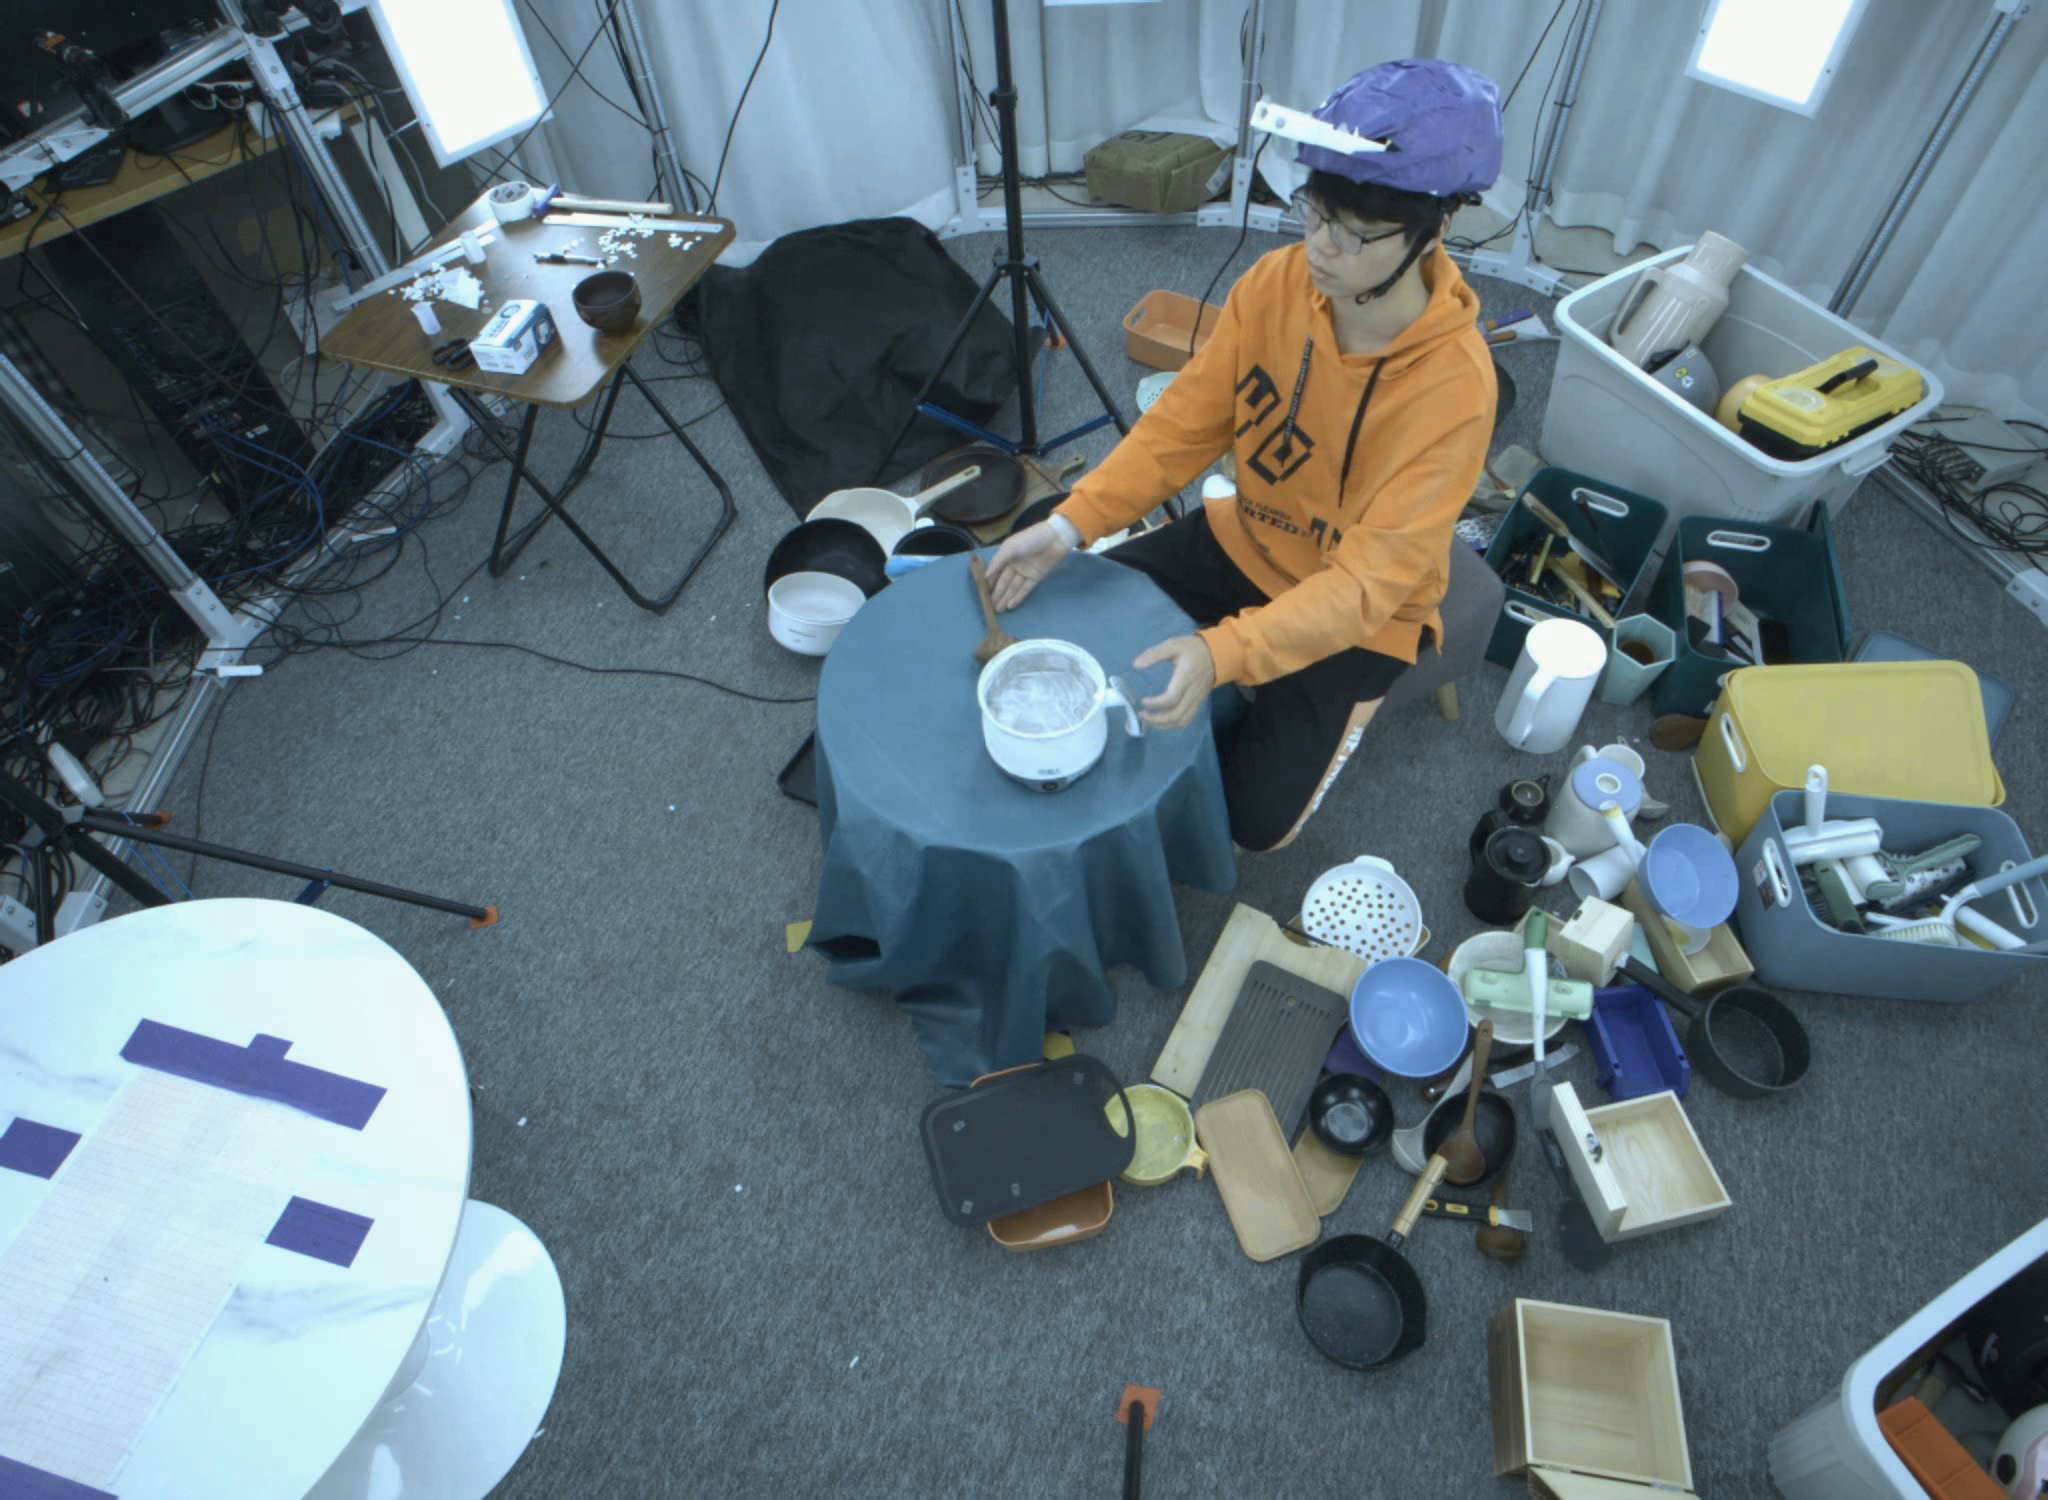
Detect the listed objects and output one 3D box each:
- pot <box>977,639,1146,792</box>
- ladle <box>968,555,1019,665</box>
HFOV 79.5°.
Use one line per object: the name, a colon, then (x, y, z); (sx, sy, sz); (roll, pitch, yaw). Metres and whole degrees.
pot: (0.055, -0.051, 1.736); (0.234, 0.138, 0.176); (-6, 55, -1)
ladle: (-0.061, -0.229, 1.912); (0.077, 0.066, 0.256); (-10, 55, -3)
